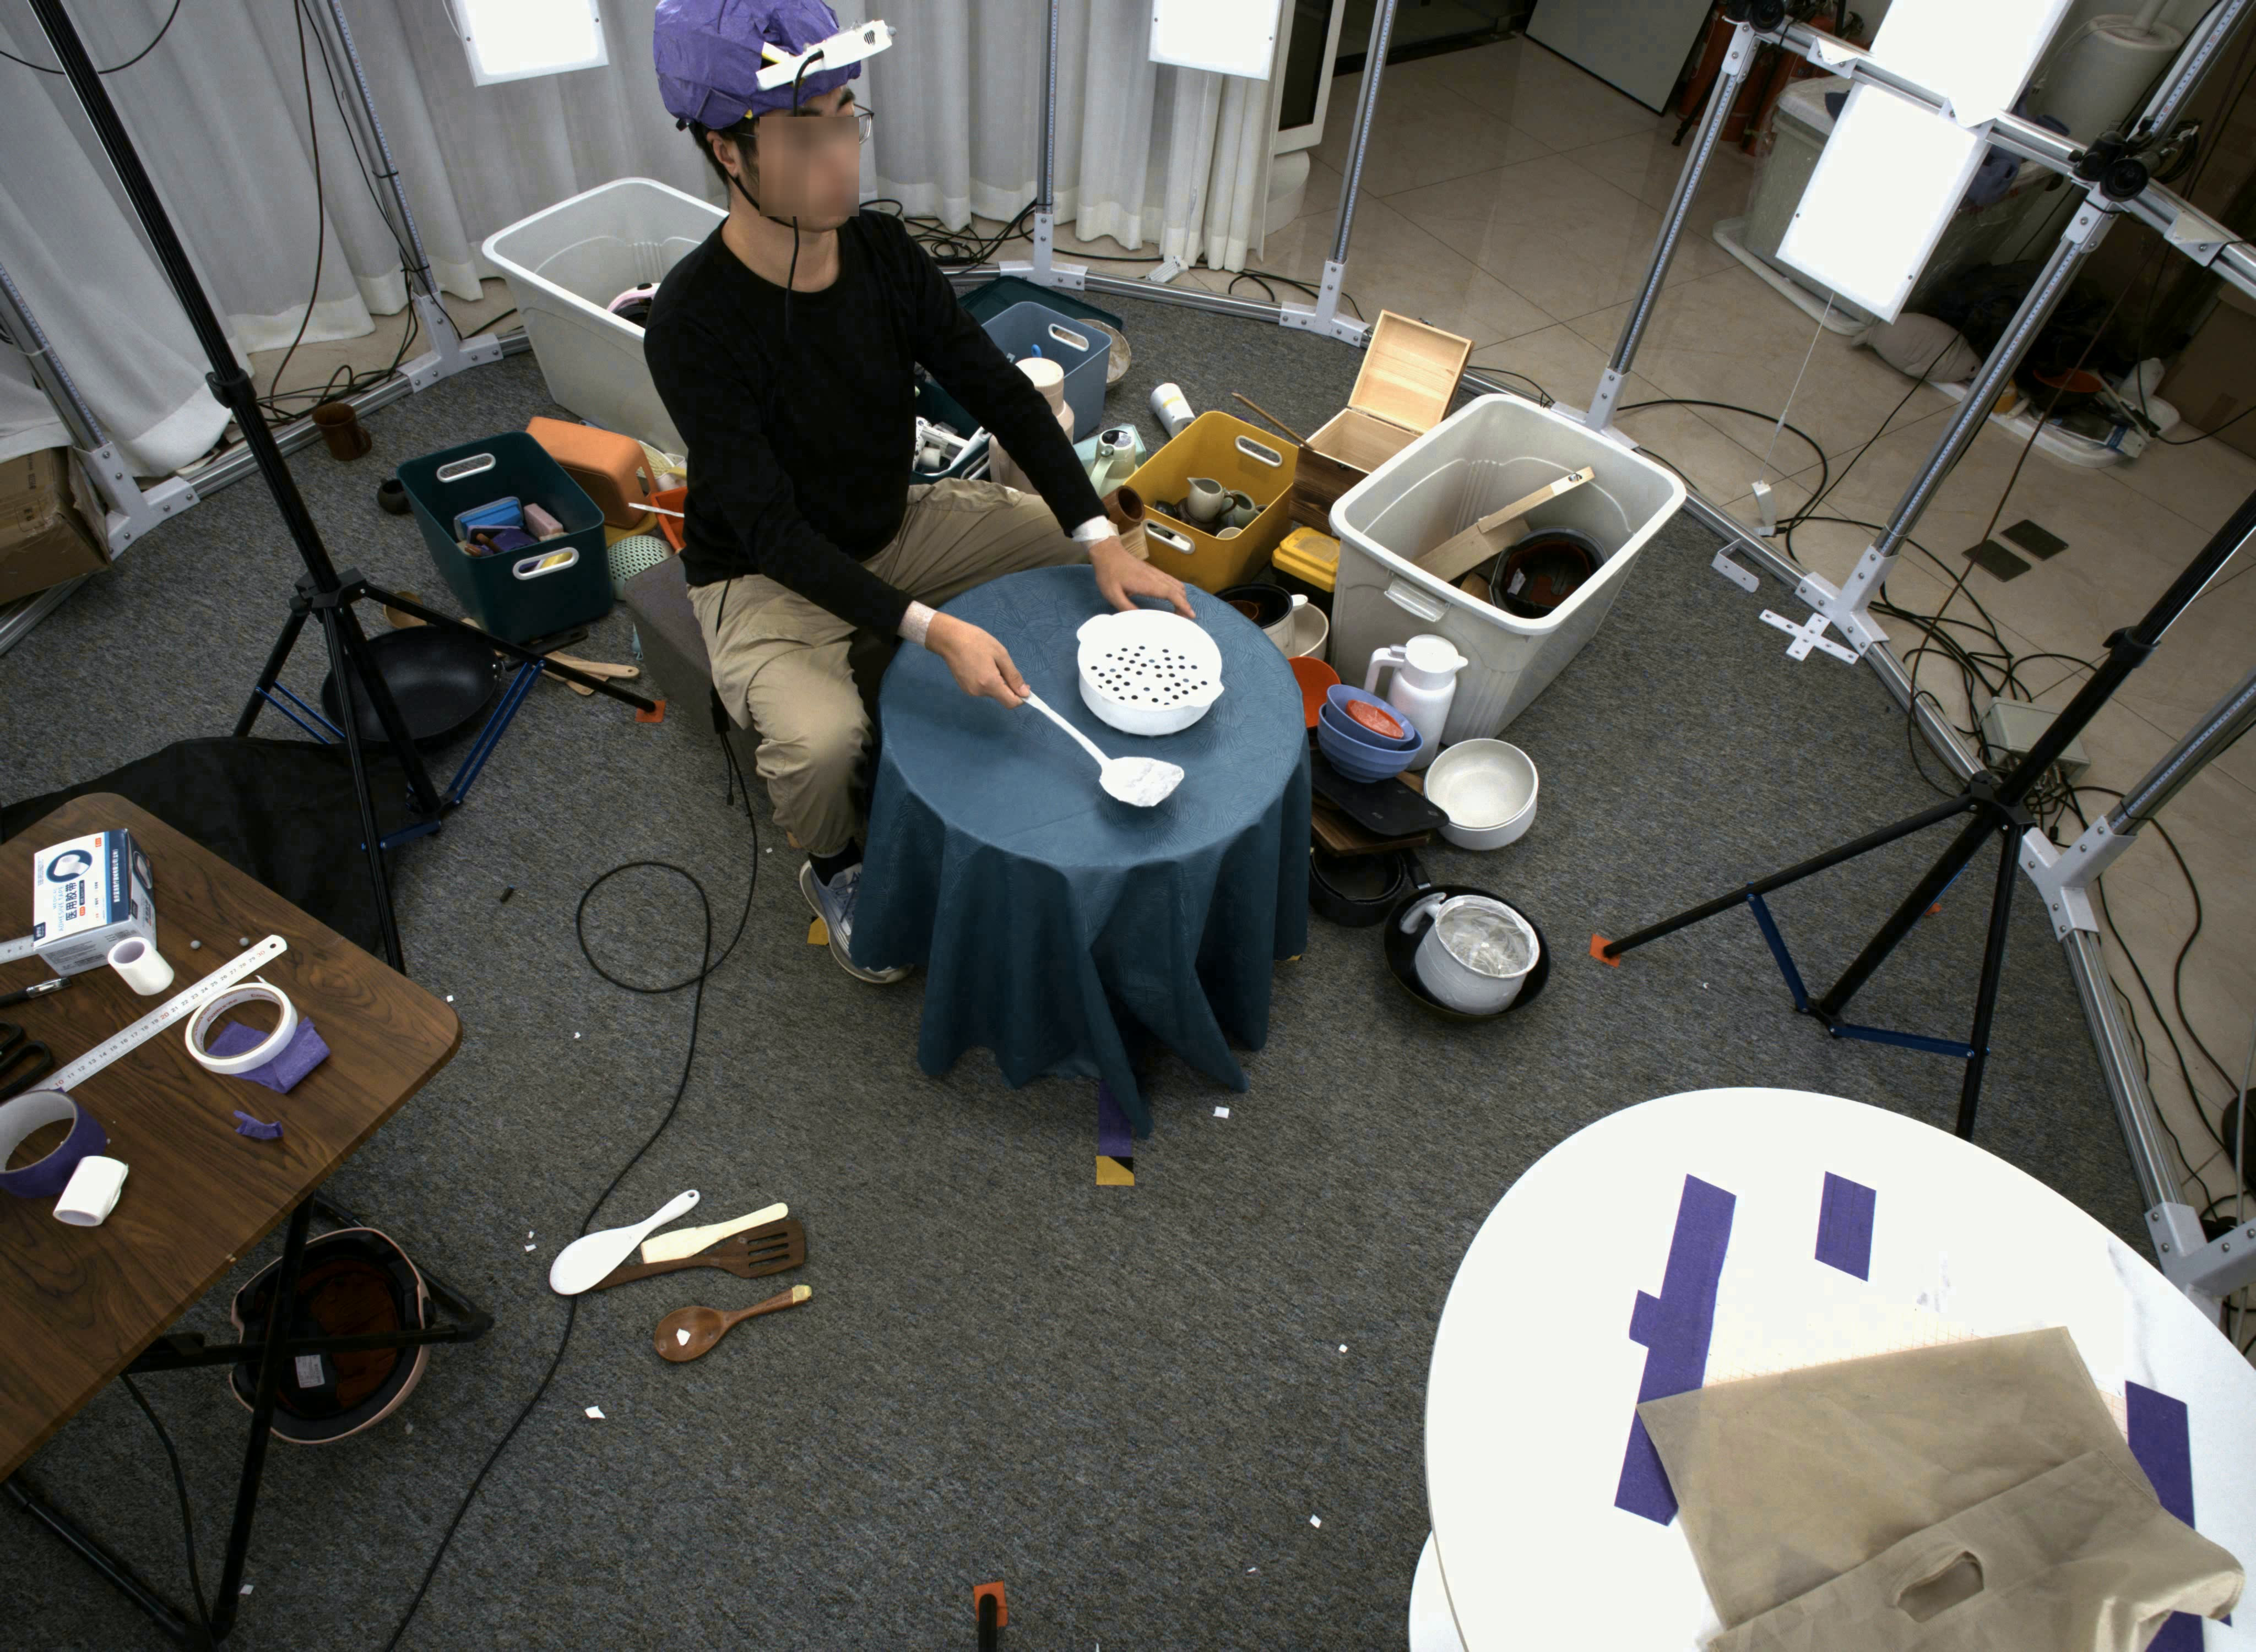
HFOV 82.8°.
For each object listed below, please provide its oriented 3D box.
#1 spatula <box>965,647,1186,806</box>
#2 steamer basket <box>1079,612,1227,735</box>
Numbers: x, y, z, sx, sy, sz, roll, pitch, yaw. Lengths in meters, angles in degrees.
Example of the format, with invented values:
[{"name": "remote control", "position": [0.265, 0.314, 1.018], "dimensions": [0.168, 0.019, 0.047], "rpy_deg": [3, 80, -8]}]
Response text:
[{"name": "spatula", "position": [-0.086, -0.144, 1.708], "dimensions": [0.368, 0.044, 0.100], "rpy_deg": [38, 54, 14]}, {"name": "steamer basket", "position": [0.032, -0.214, 1.813], "dimensions": [0.233, 0.067, 0.204], "rpy_deg": [32, 53, 23]}]
